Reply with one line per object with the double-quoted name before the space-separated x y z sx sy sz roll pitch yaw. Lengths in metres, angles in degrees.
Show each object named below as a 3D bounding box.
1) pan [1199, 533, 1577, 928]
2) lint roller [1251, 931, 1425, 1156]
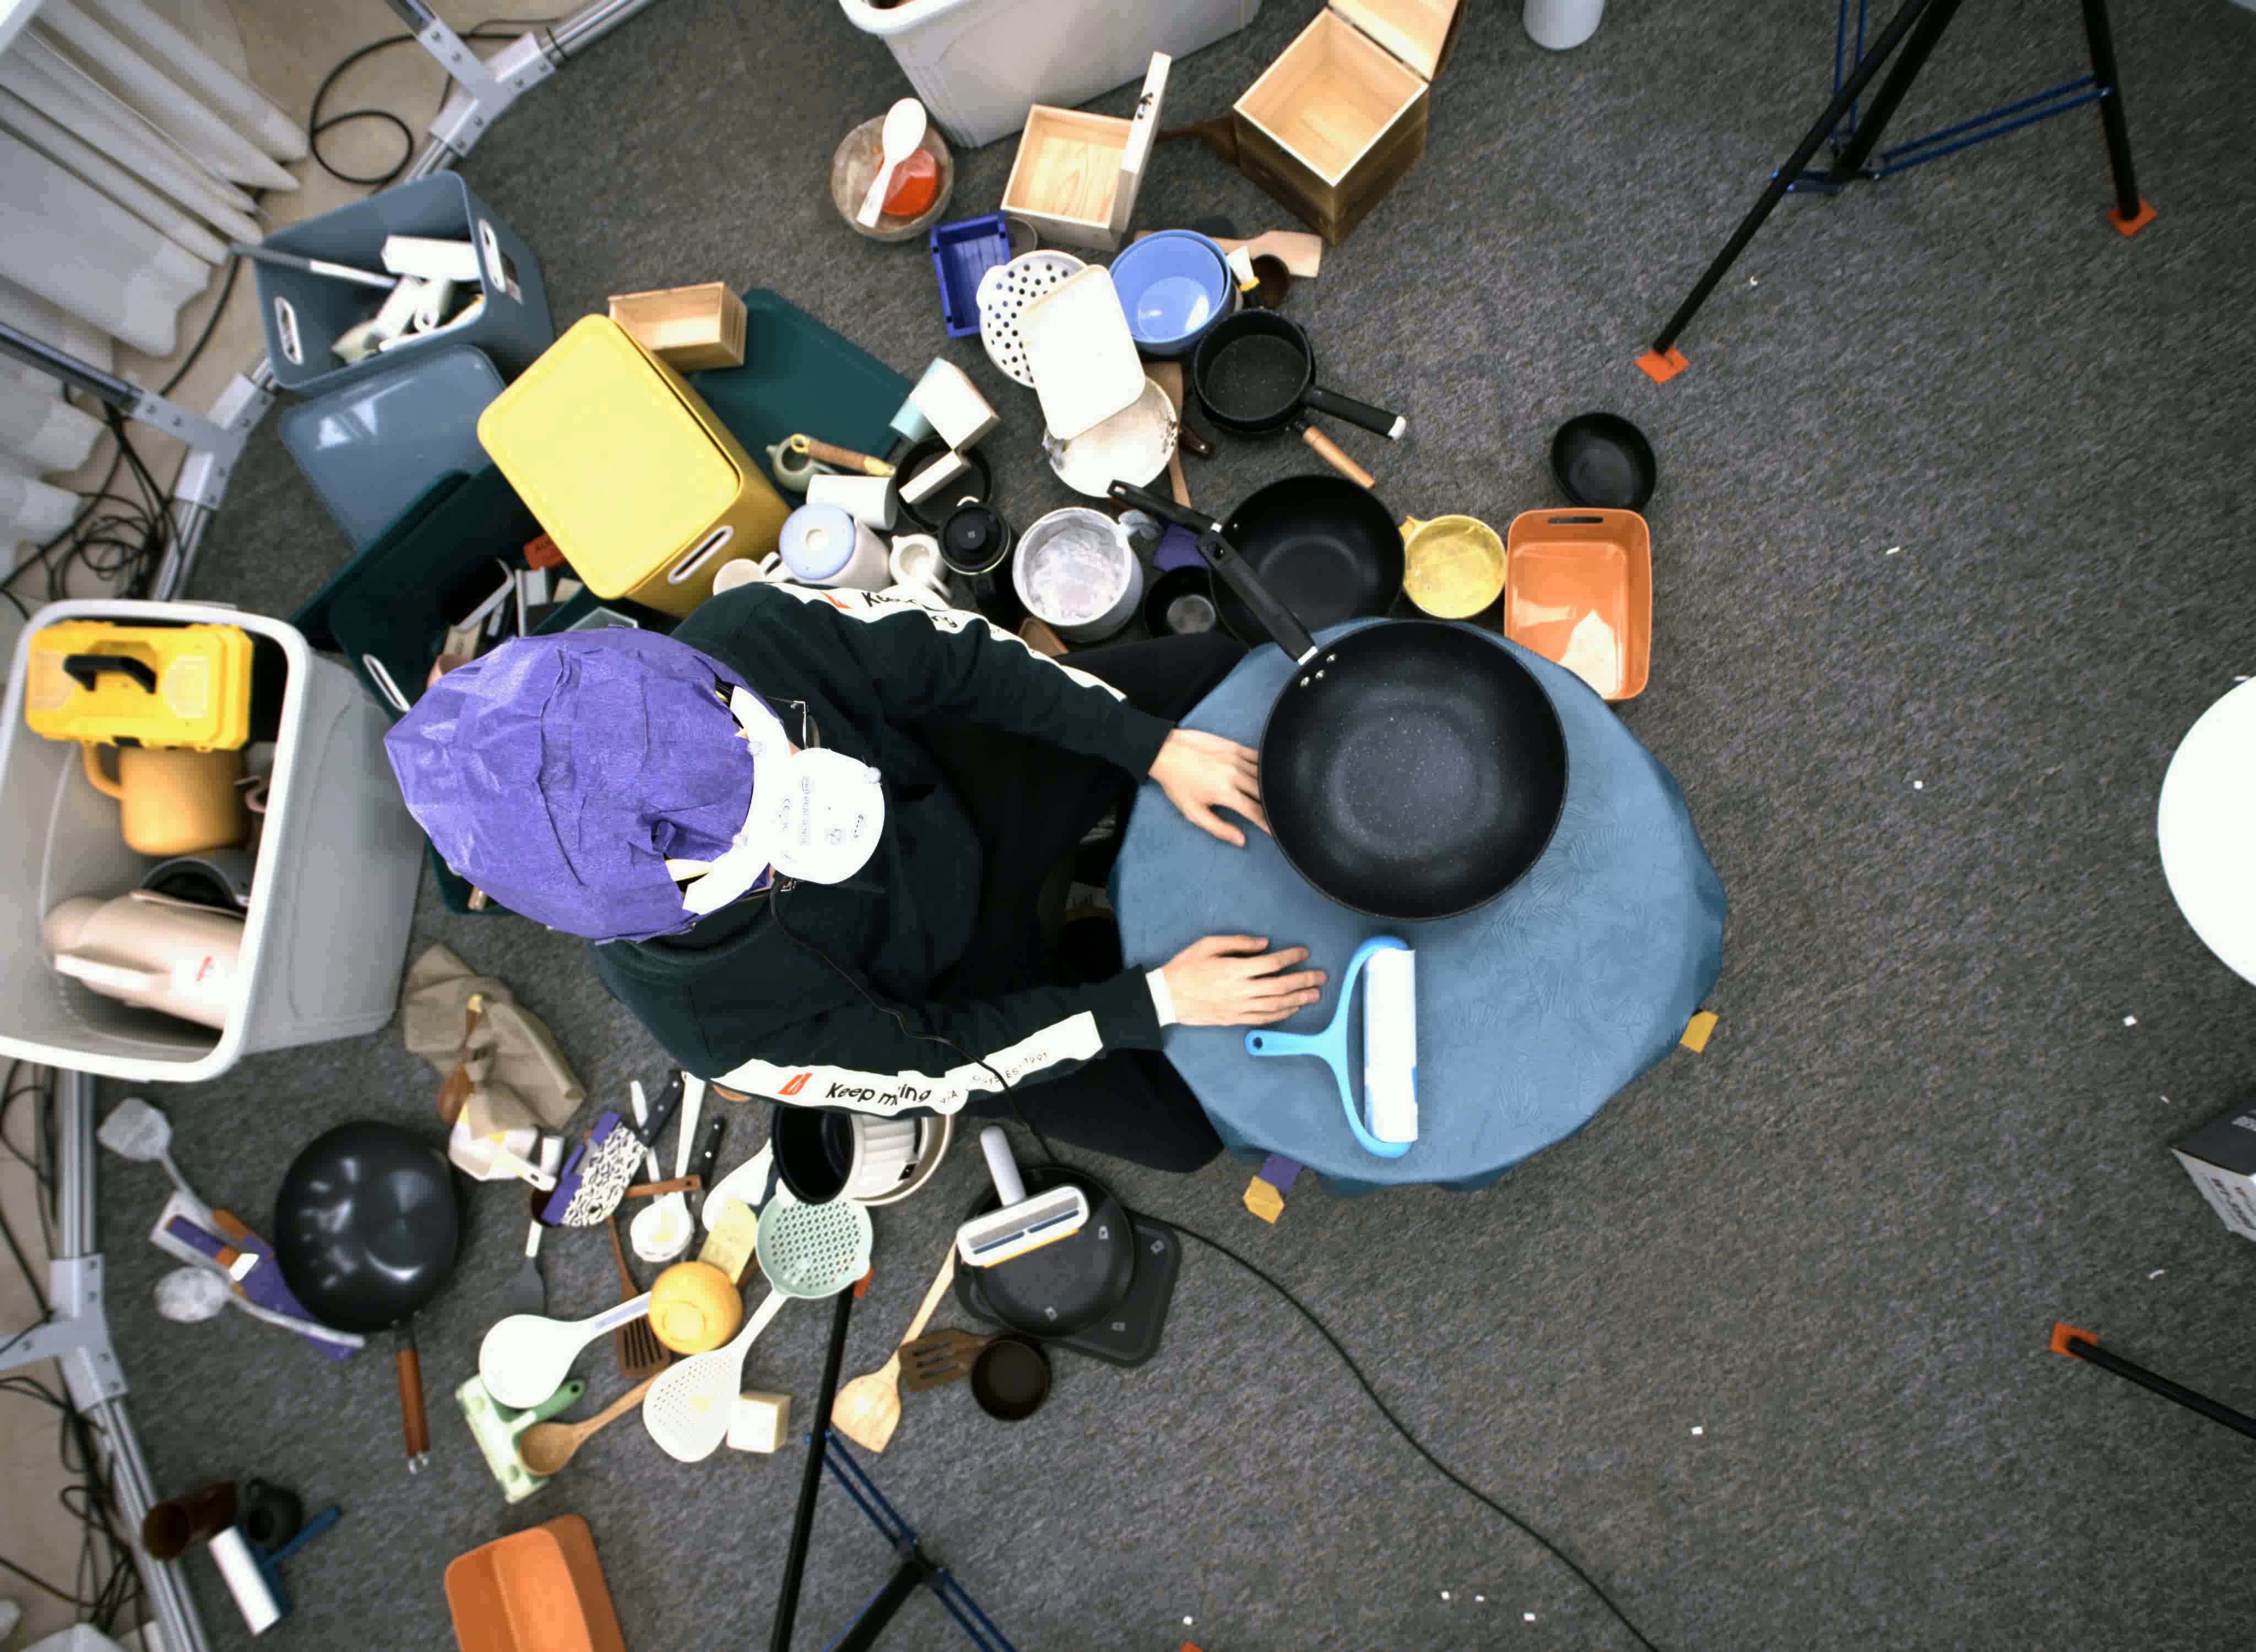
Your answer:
"pan" 0.240 -0.113 1.416 0.311 0.112 0.474 -42 81 4
"lint roller" 0.215 0.226 1.430 0.181 0.068 0.228 -5 88 10
